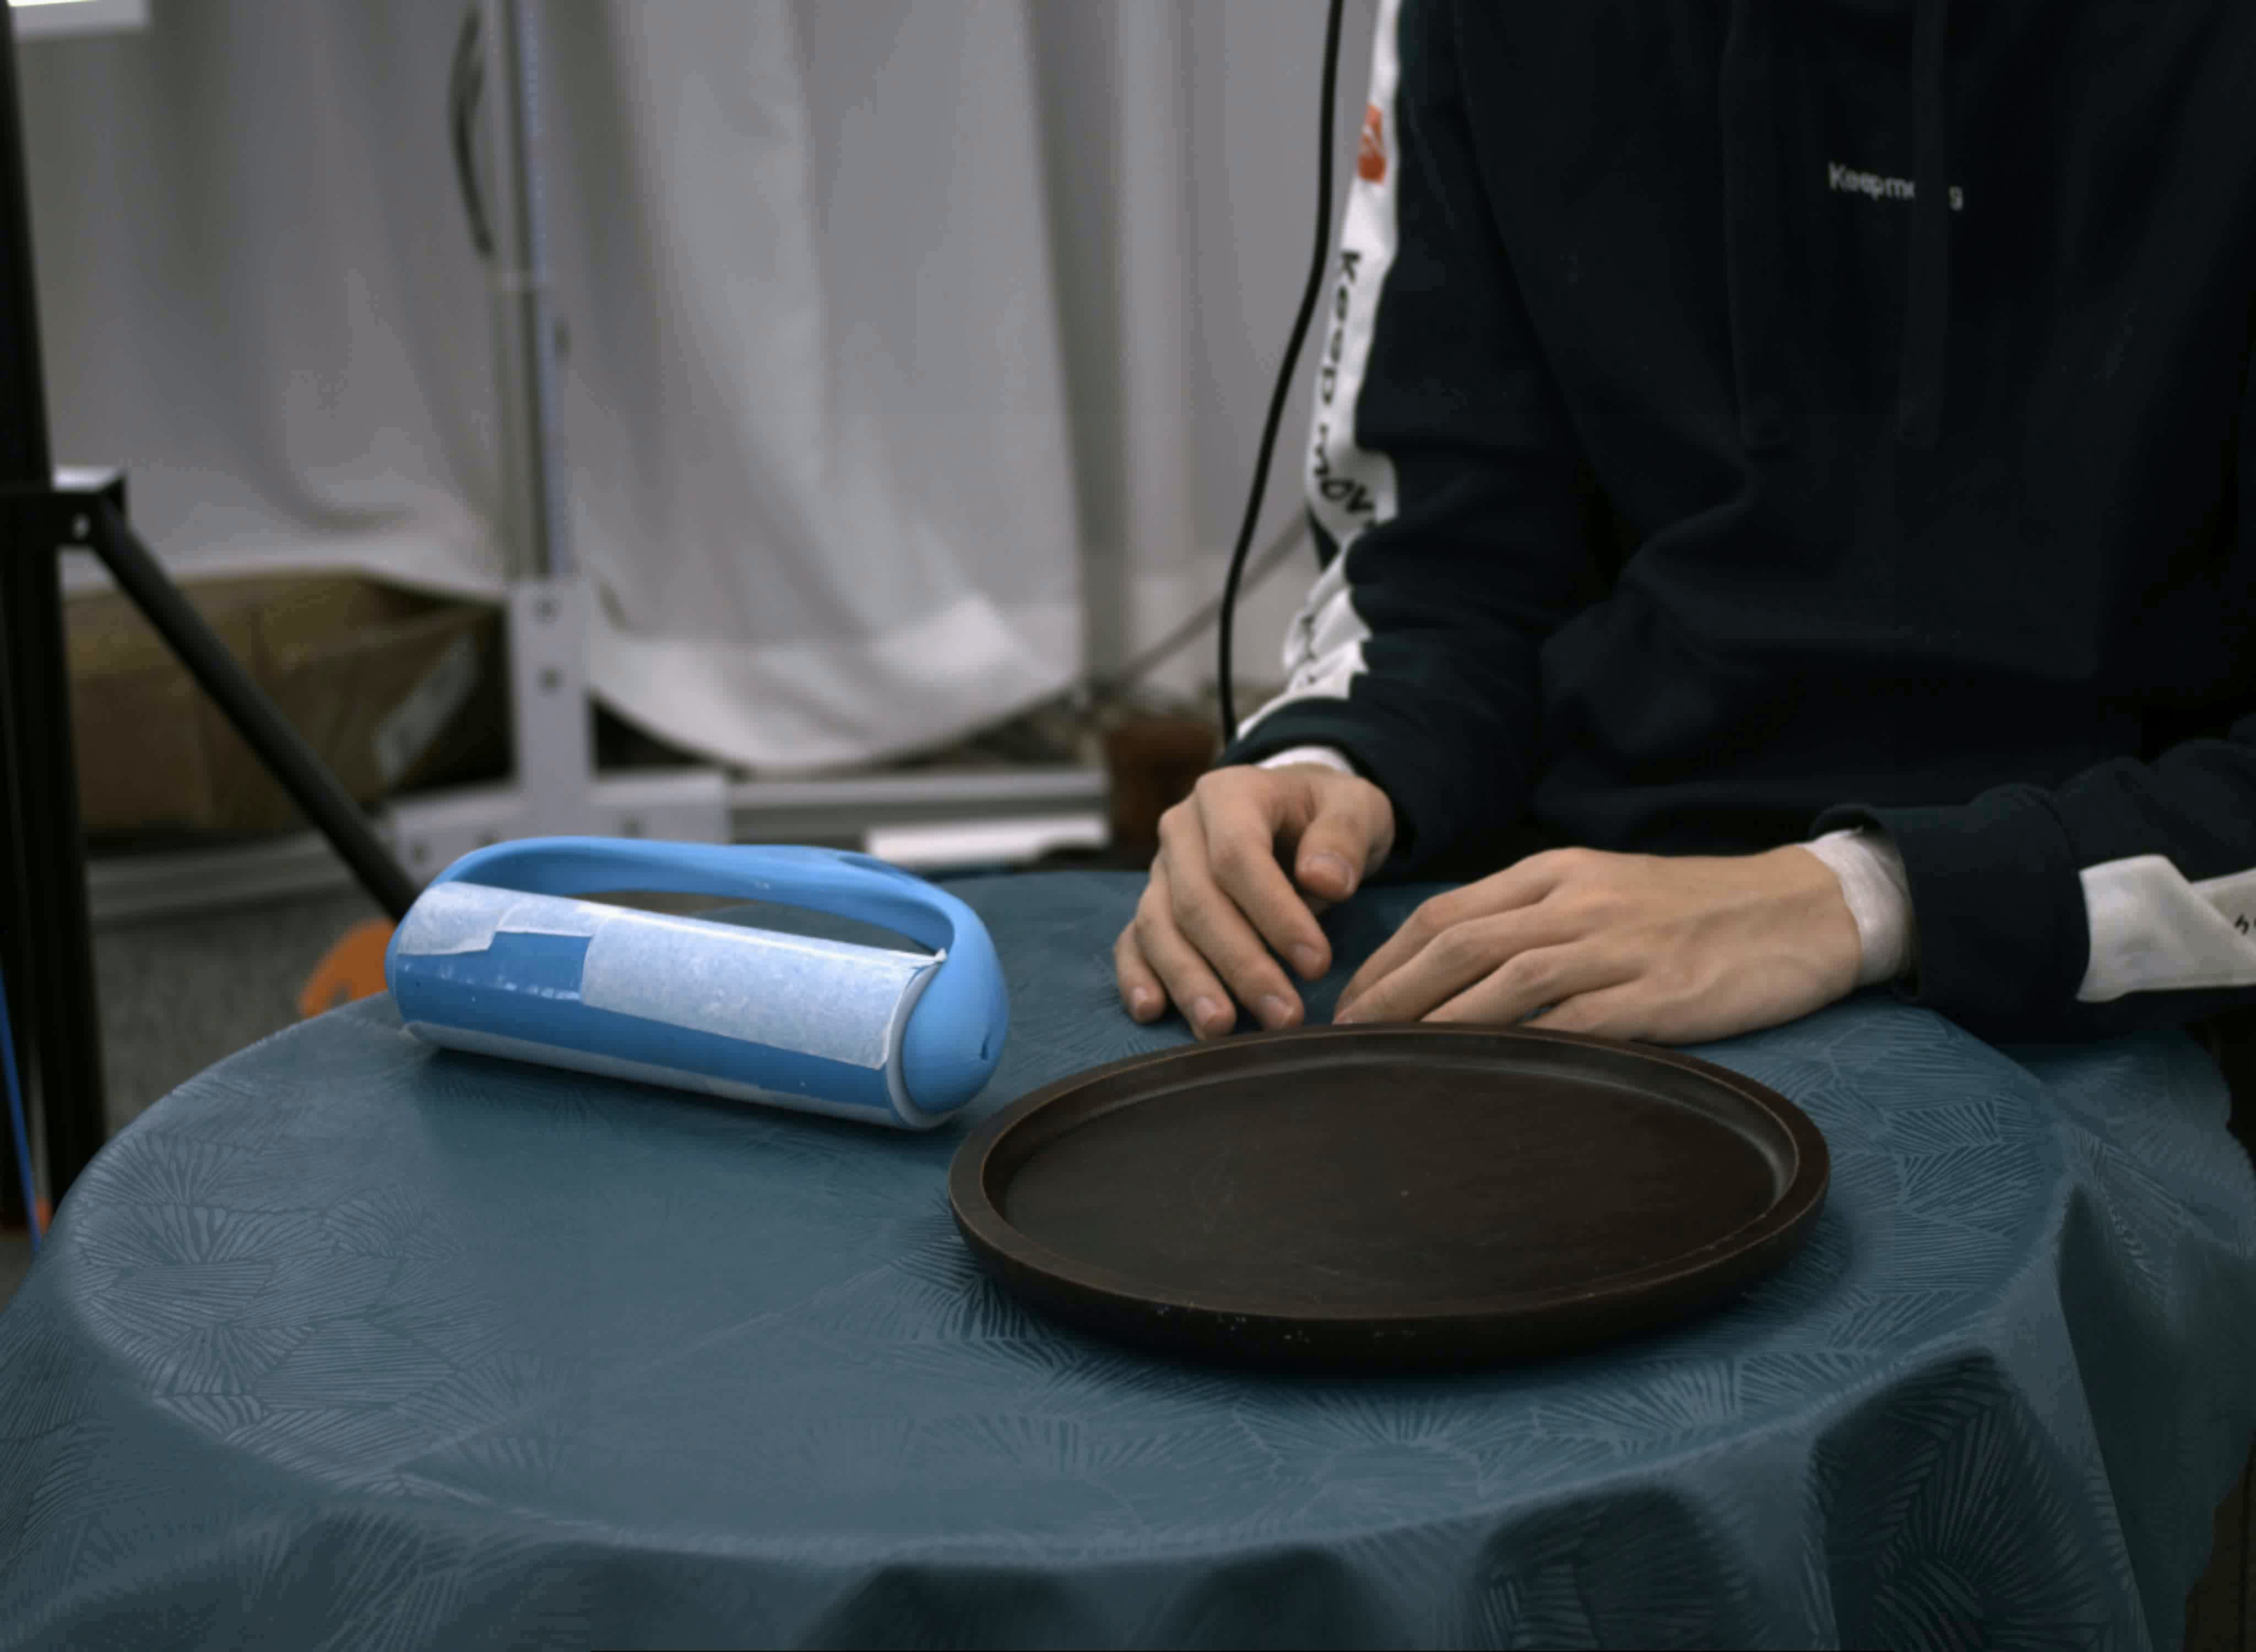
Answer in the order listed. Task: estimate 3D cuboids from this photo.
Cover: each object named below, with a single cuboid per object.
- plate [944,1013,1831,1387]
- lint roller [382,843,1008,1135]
[{"bbox_3d":[0.074,0.106,1.512,0.253,0.029,0.256,-3,17,0],"label":"plate"},{"bbox_3d":[-0.110,0.040,1.714,0.233,0.068,0.177,5,18,31],"label":"lint roller"}]
